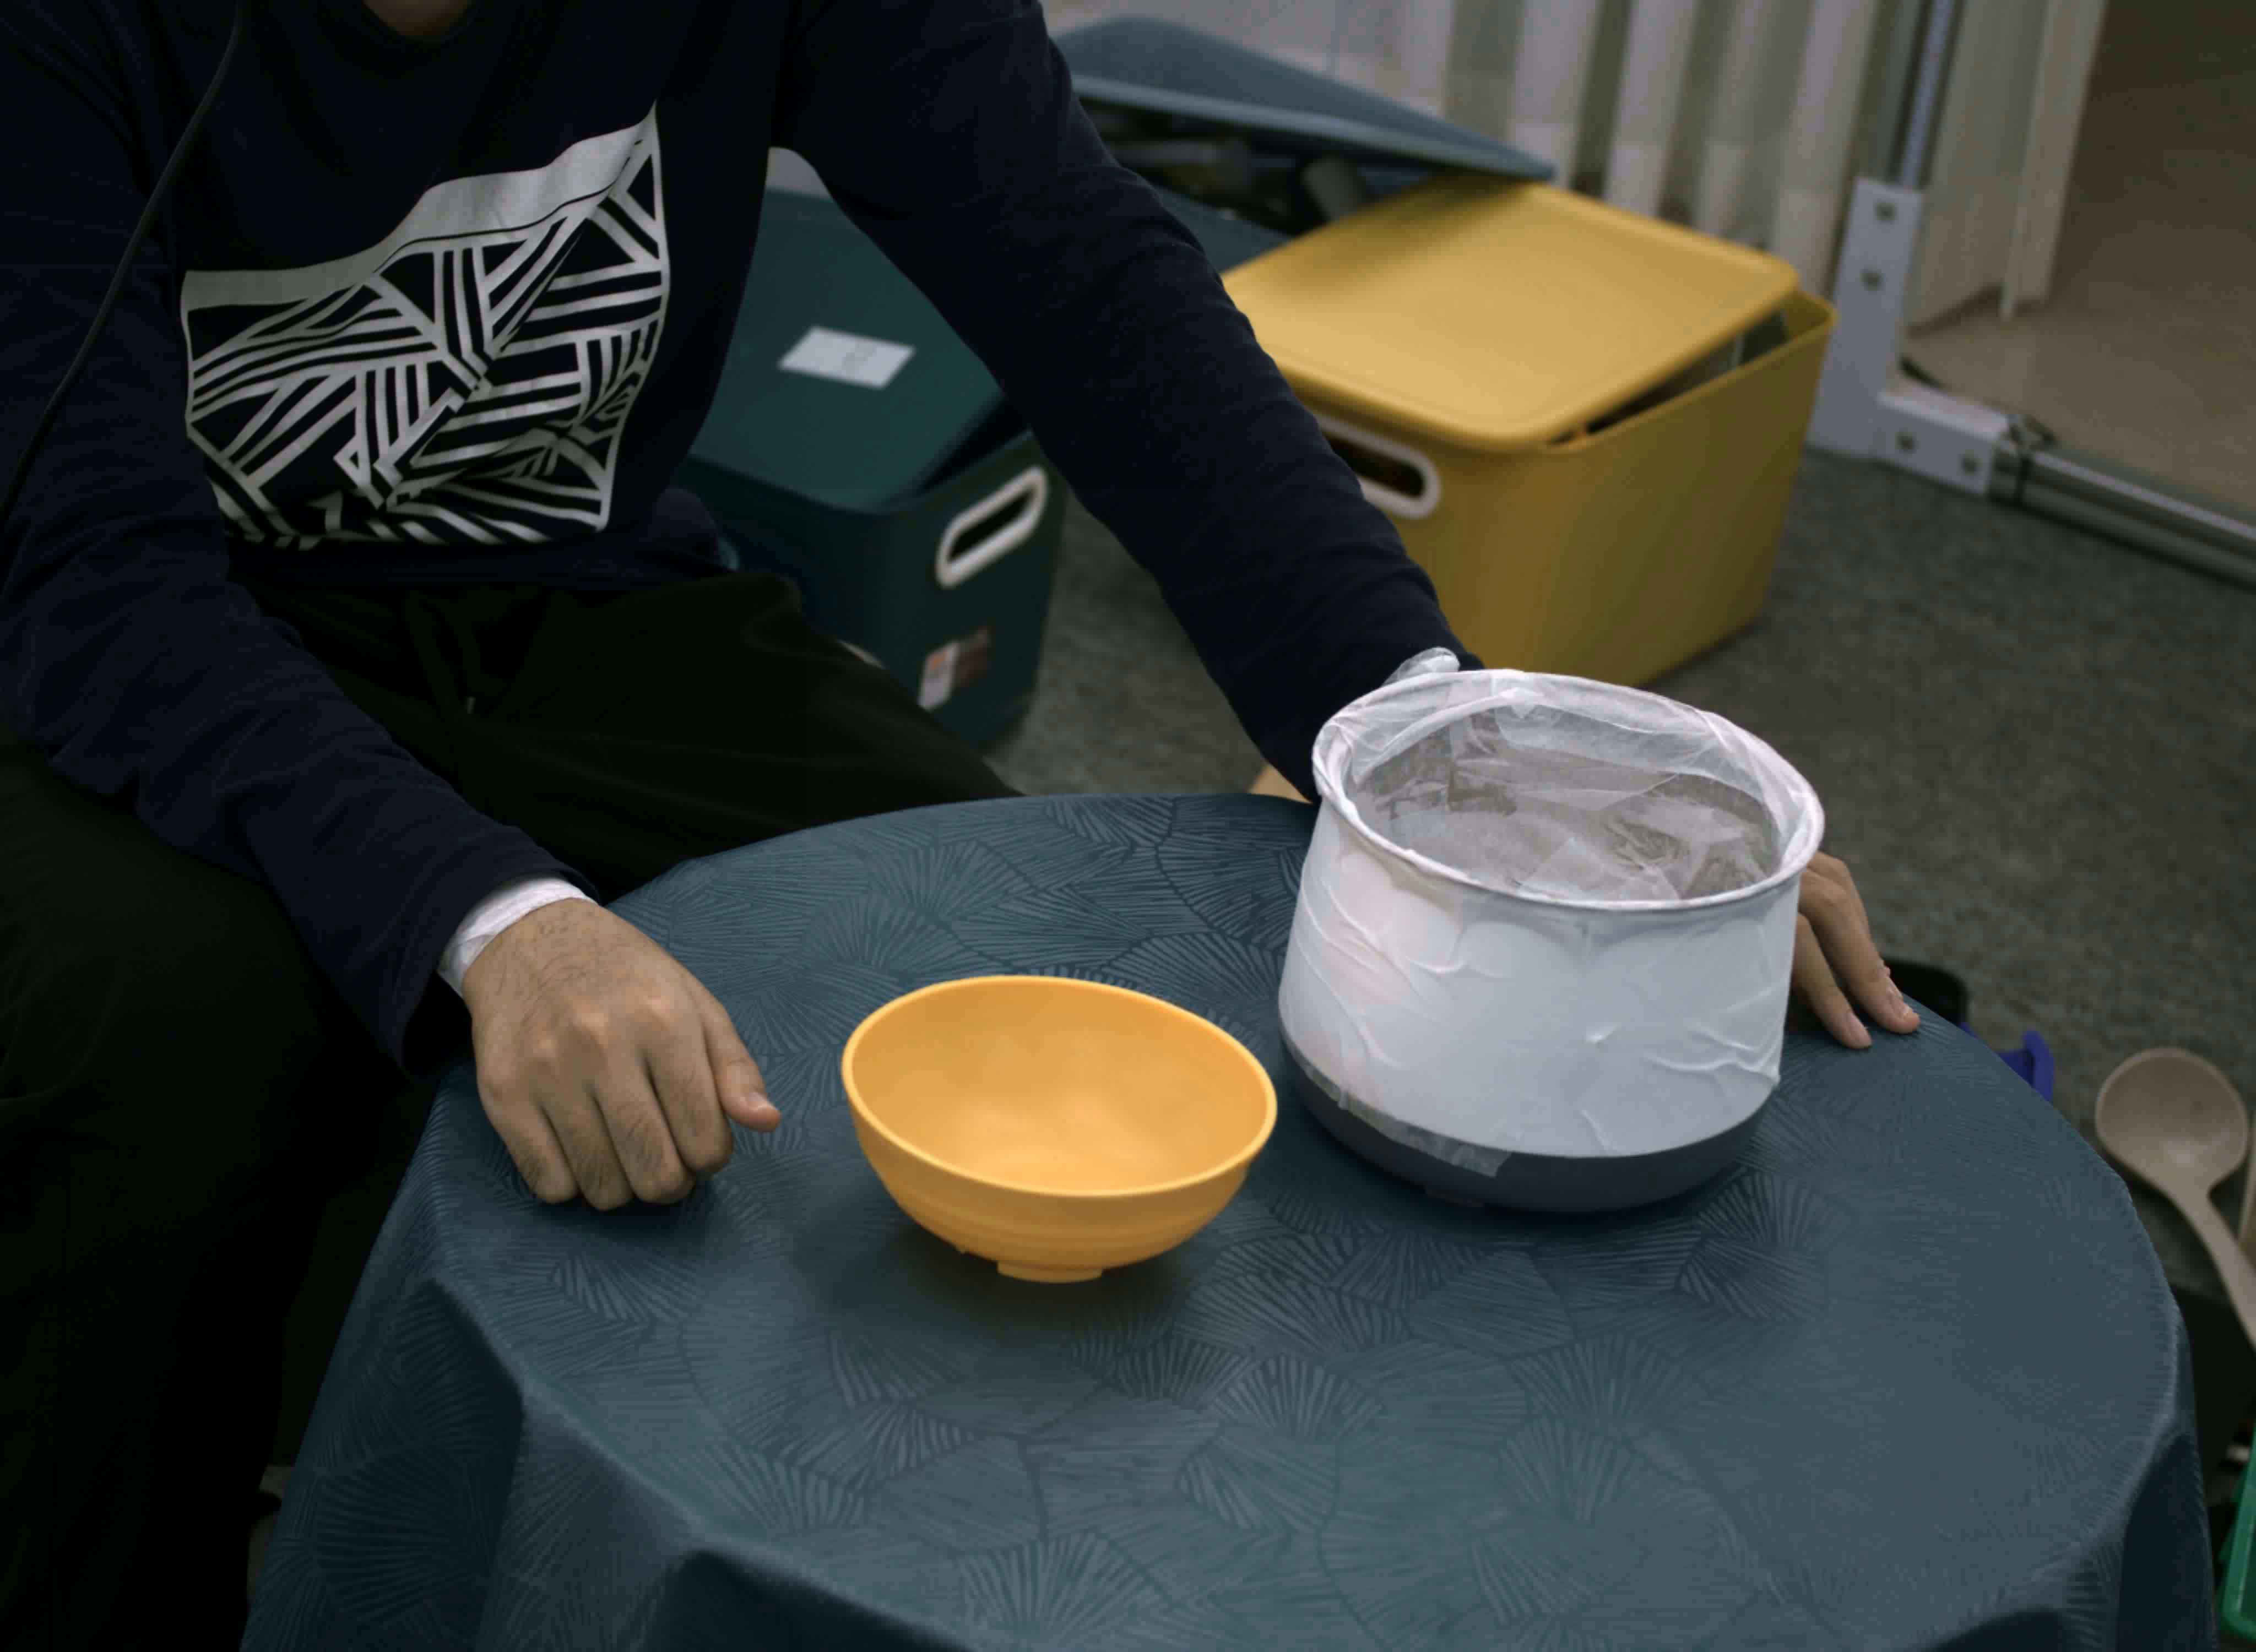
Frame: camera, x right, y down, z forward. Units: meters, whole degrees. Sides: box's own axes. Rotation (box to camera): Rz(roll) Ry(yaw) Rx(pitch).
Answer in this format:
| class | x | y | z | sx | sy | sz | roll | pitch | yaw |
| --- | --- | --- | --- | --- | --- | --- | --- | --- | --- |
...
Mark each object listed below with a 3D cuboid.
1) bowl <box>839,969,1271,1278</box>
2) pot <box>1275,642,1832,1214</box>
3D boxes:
| class | x | y | z | sx | sy | sz | roll | pitch | yaw |
| --- | --- | --- | --- | --- | --- | --- | --- | --- | --- |
| bowl | -0.028 | 0.108 | 1.763 | 0.145 | 0.060 | 0.146 | 7 | 26 | -4 |
| pot | 0.132 | 0.029 | 1.870 | 0.177 | 0.136 | 0.236 | -4 | 29 | -26 |
